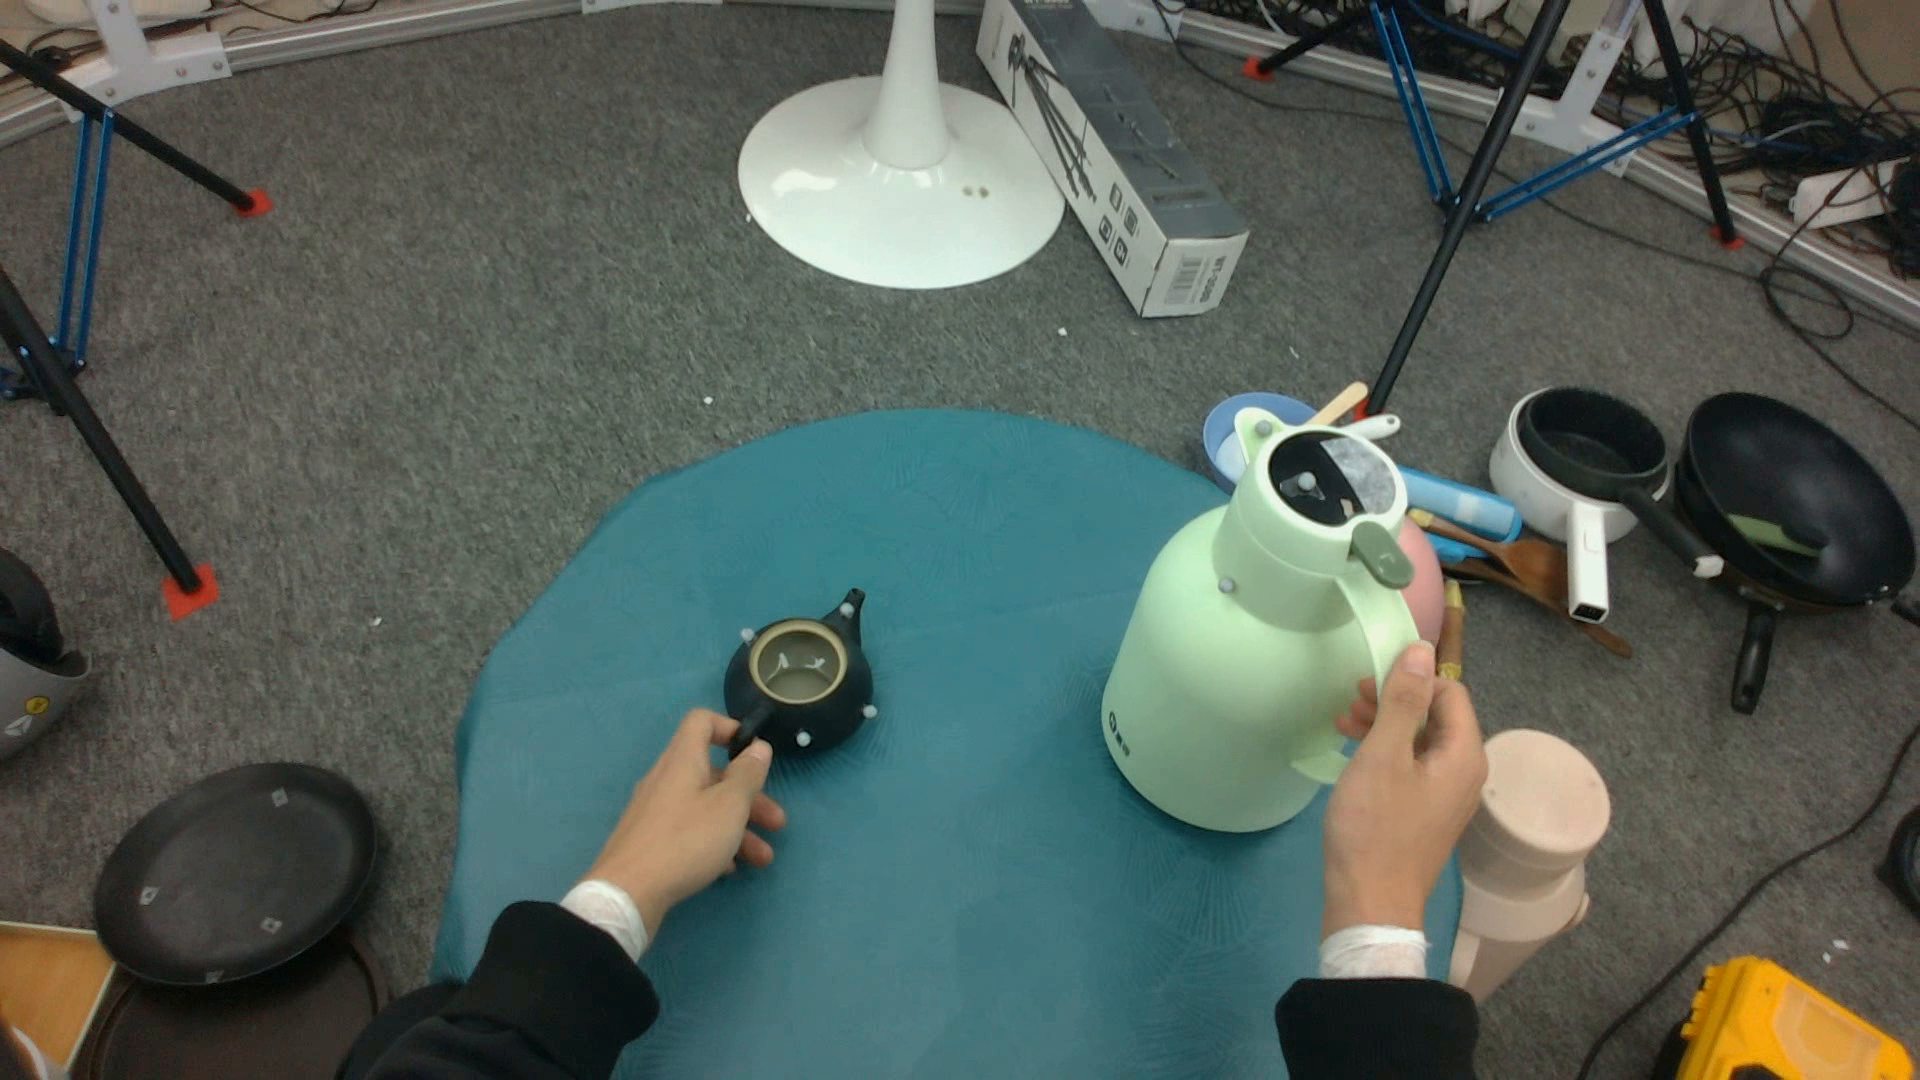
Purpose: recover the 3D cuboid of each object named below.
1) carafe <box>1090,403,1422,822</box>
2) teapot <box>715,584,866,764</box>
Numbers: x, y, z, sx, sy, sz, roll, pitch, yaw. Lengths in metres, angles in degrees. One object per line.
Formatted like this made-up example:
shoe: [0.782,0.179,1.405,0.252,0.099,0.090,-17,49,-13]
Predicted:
carafe: [0.173,0.055,0.771,0.144,0.255,0.187,-15,58,-20]
teapot: [-0.103,0.085,0.833,0.091,0.053,0.134,26,53,15]
